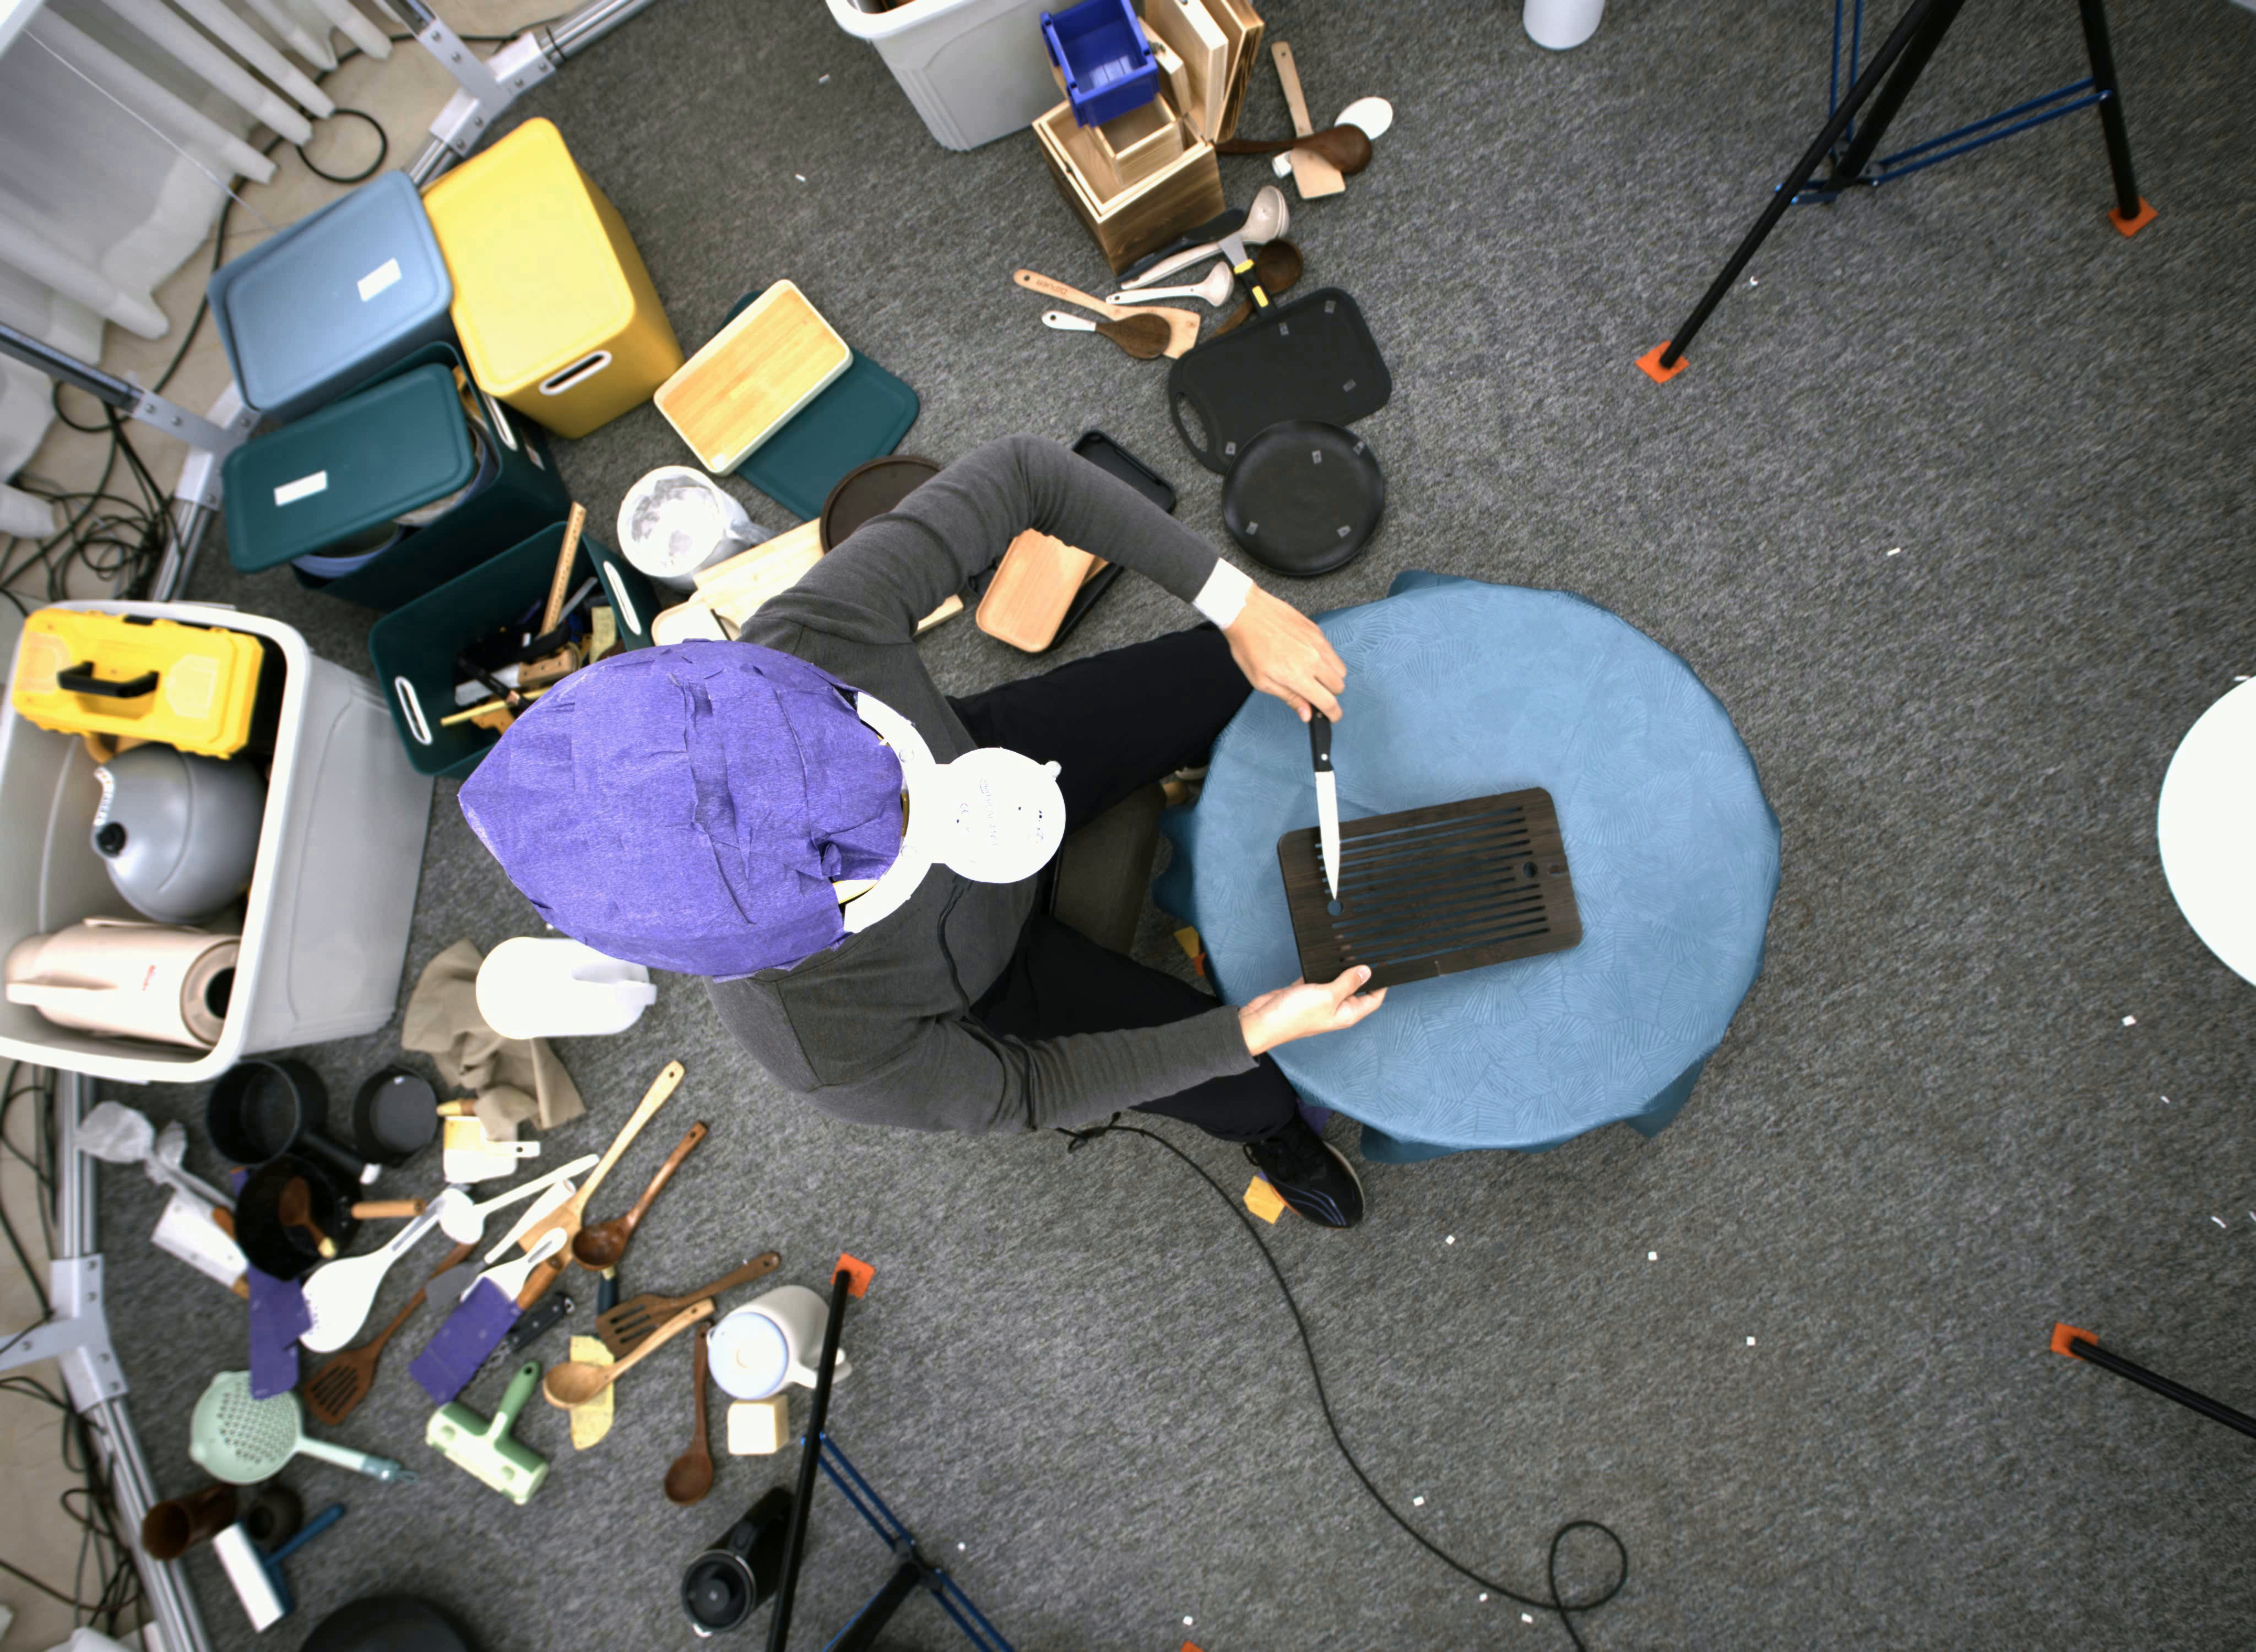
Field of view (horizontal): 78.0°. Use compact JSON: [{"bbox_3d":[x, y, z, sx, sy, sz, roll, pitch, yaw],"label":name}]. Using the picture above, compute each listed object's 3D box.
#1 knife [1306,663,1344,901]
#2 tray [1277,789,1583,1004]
[{"bbox_3d":[0.194,-0.045,1.355,0.024,0.016,0.237,-3,85,-22],"label":"knife"},{"bbox_3d":[0.307,0.067,1.392,0.305,0.019,0.169,-10,86,-12],"label":"tray"}]
